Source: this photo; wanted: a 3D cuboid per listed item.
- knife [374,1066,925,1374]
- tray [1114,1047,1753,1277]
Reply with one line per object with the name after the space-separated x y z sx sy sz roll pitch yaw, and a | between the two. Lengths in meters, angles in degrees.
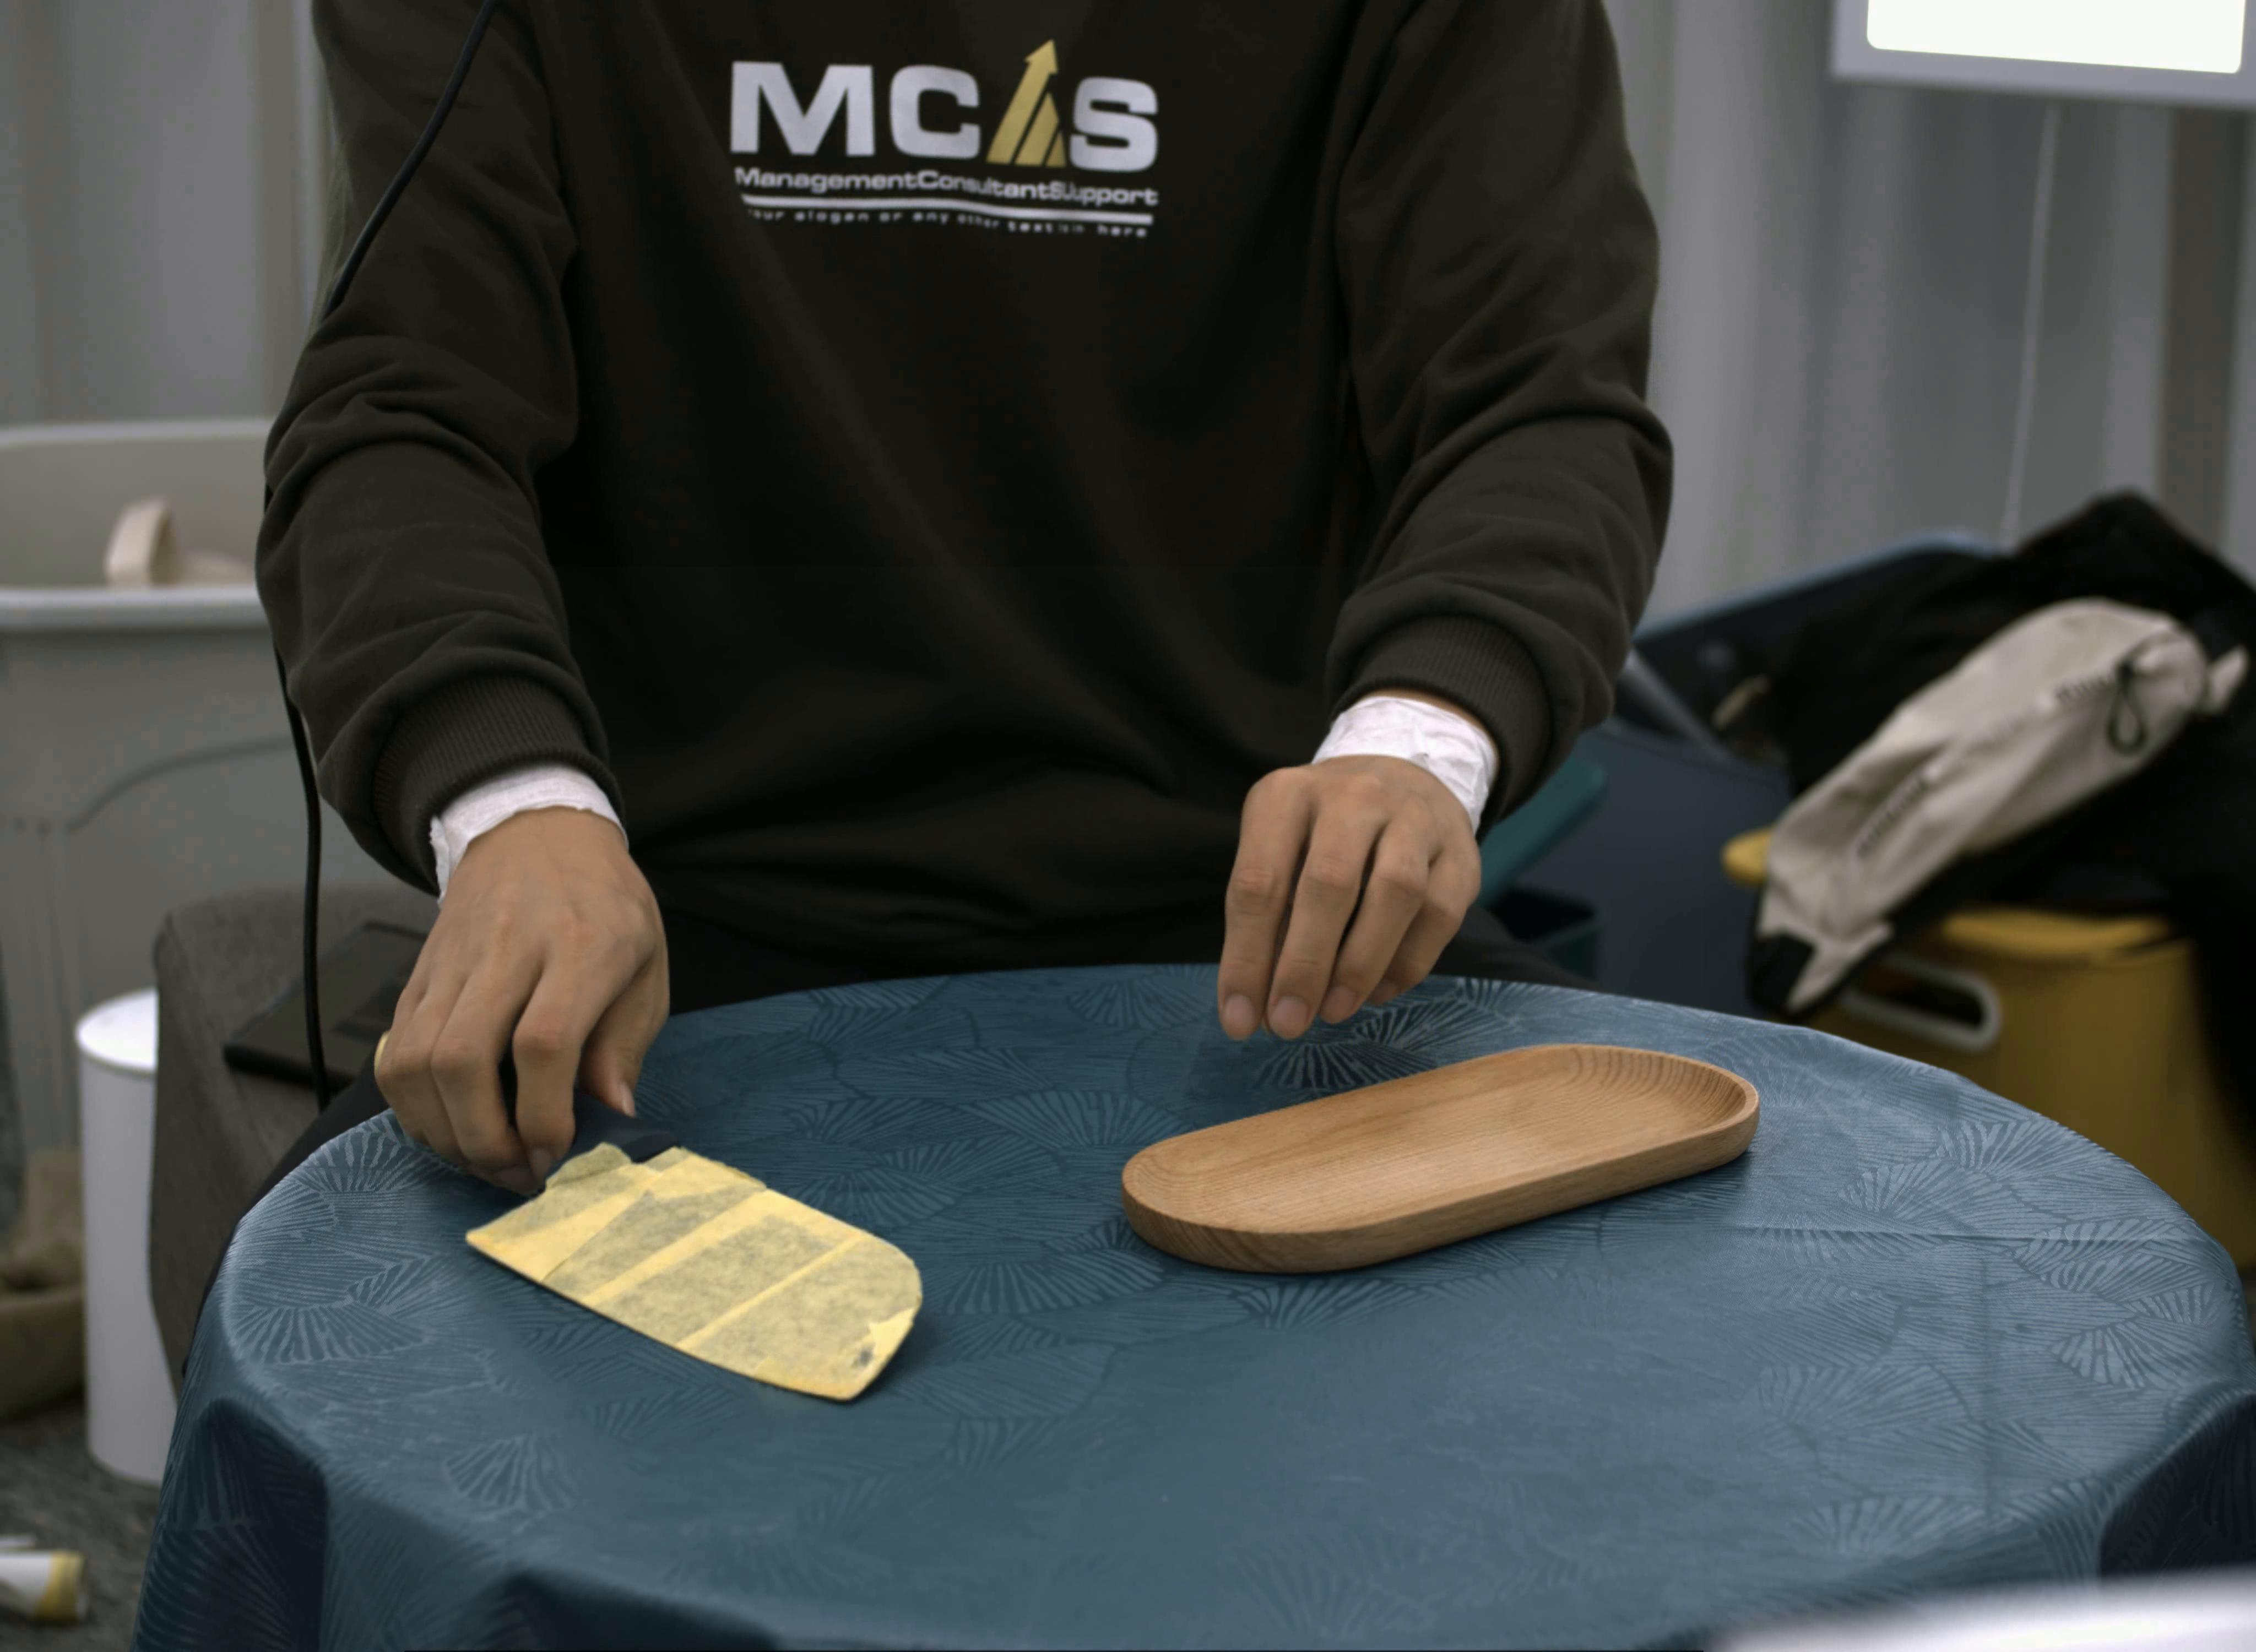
-0.154 0.117 1.566 0.081 0.027 0.285 -26 27 -31 | knife
0.097 0.103 1.632 0.232 0.020 0.100 -13 19 -38 | tray
